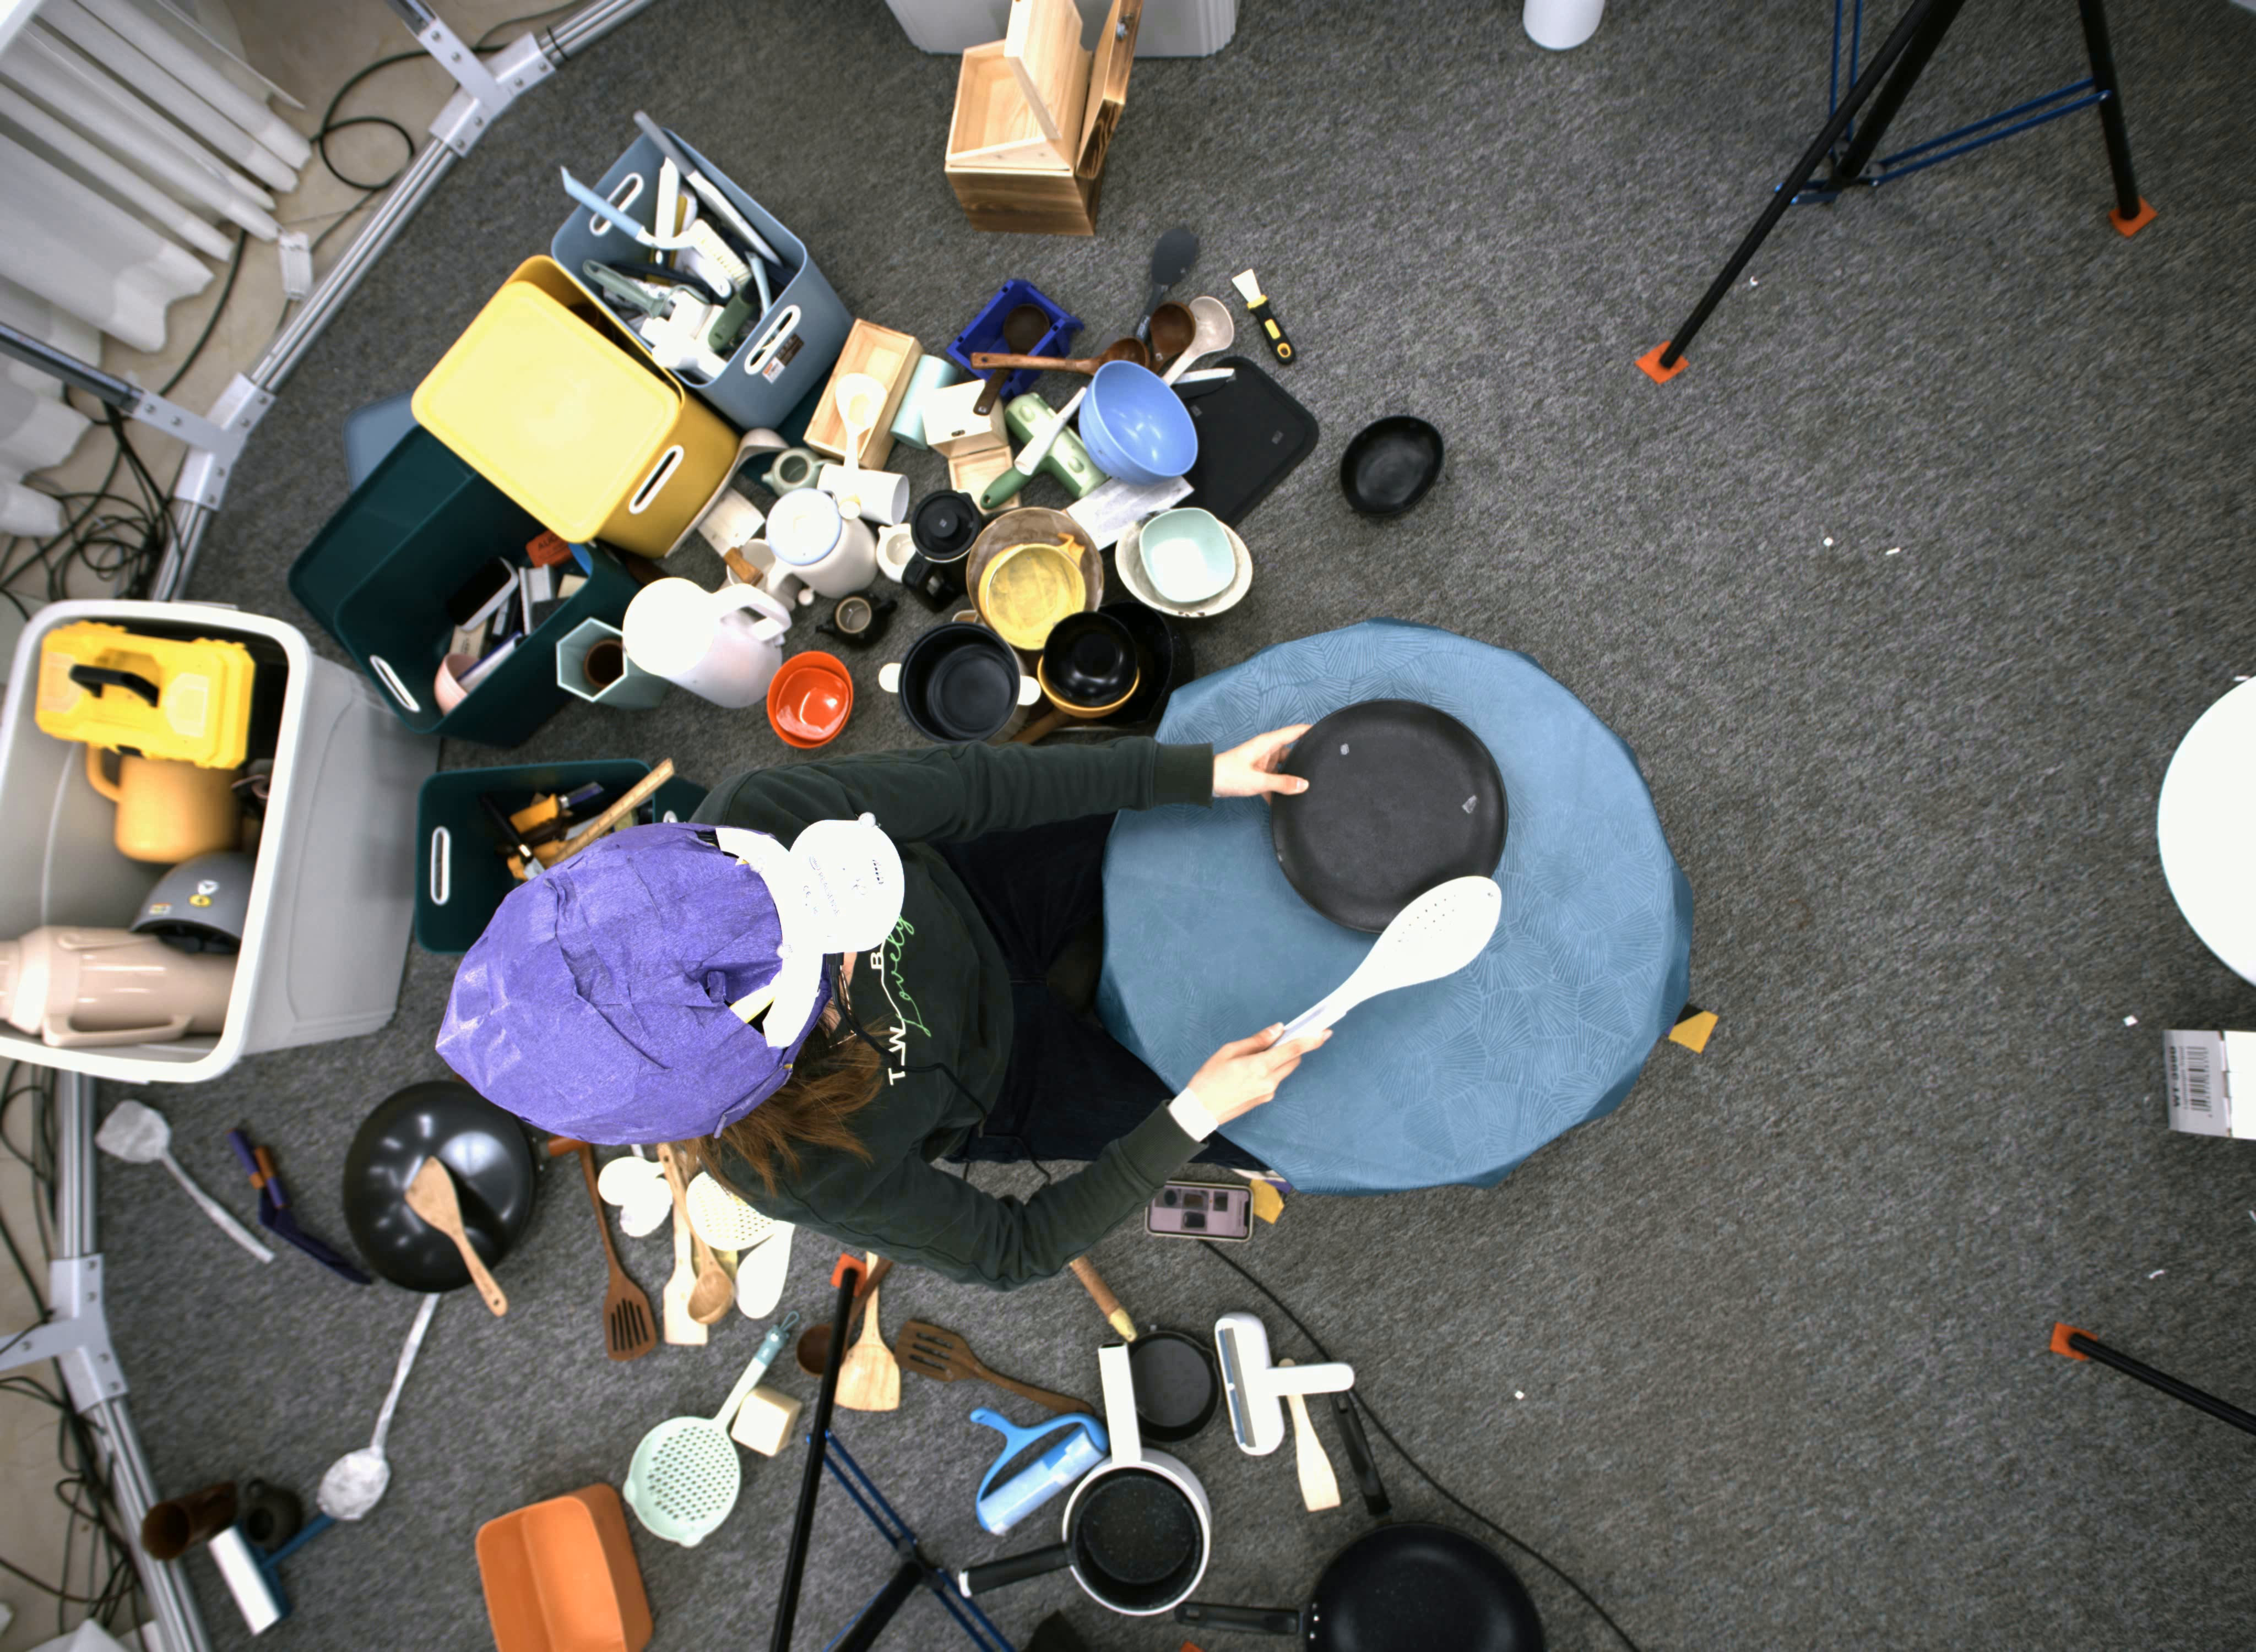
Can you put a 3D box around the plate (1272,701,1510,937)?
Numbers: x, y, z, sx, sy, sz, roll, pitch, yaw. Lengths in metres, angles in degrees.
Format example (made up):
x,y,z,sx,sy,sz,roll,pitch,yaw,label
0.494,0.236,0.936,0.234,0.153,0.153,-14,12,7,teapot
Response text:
x,y,z,sx,sy,sz,roll,pitch,yaw,label
0.270,-0.009,1.422,0.245,0.023,0.246,1,98,4,plate

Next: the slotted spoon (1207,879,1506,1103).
x,y,z,sx,sy,sz,roll,pitch,yaw,label
0.221,0.165,1.348,0.352,0.134,0.046,-32,108,10,slotted spoon
